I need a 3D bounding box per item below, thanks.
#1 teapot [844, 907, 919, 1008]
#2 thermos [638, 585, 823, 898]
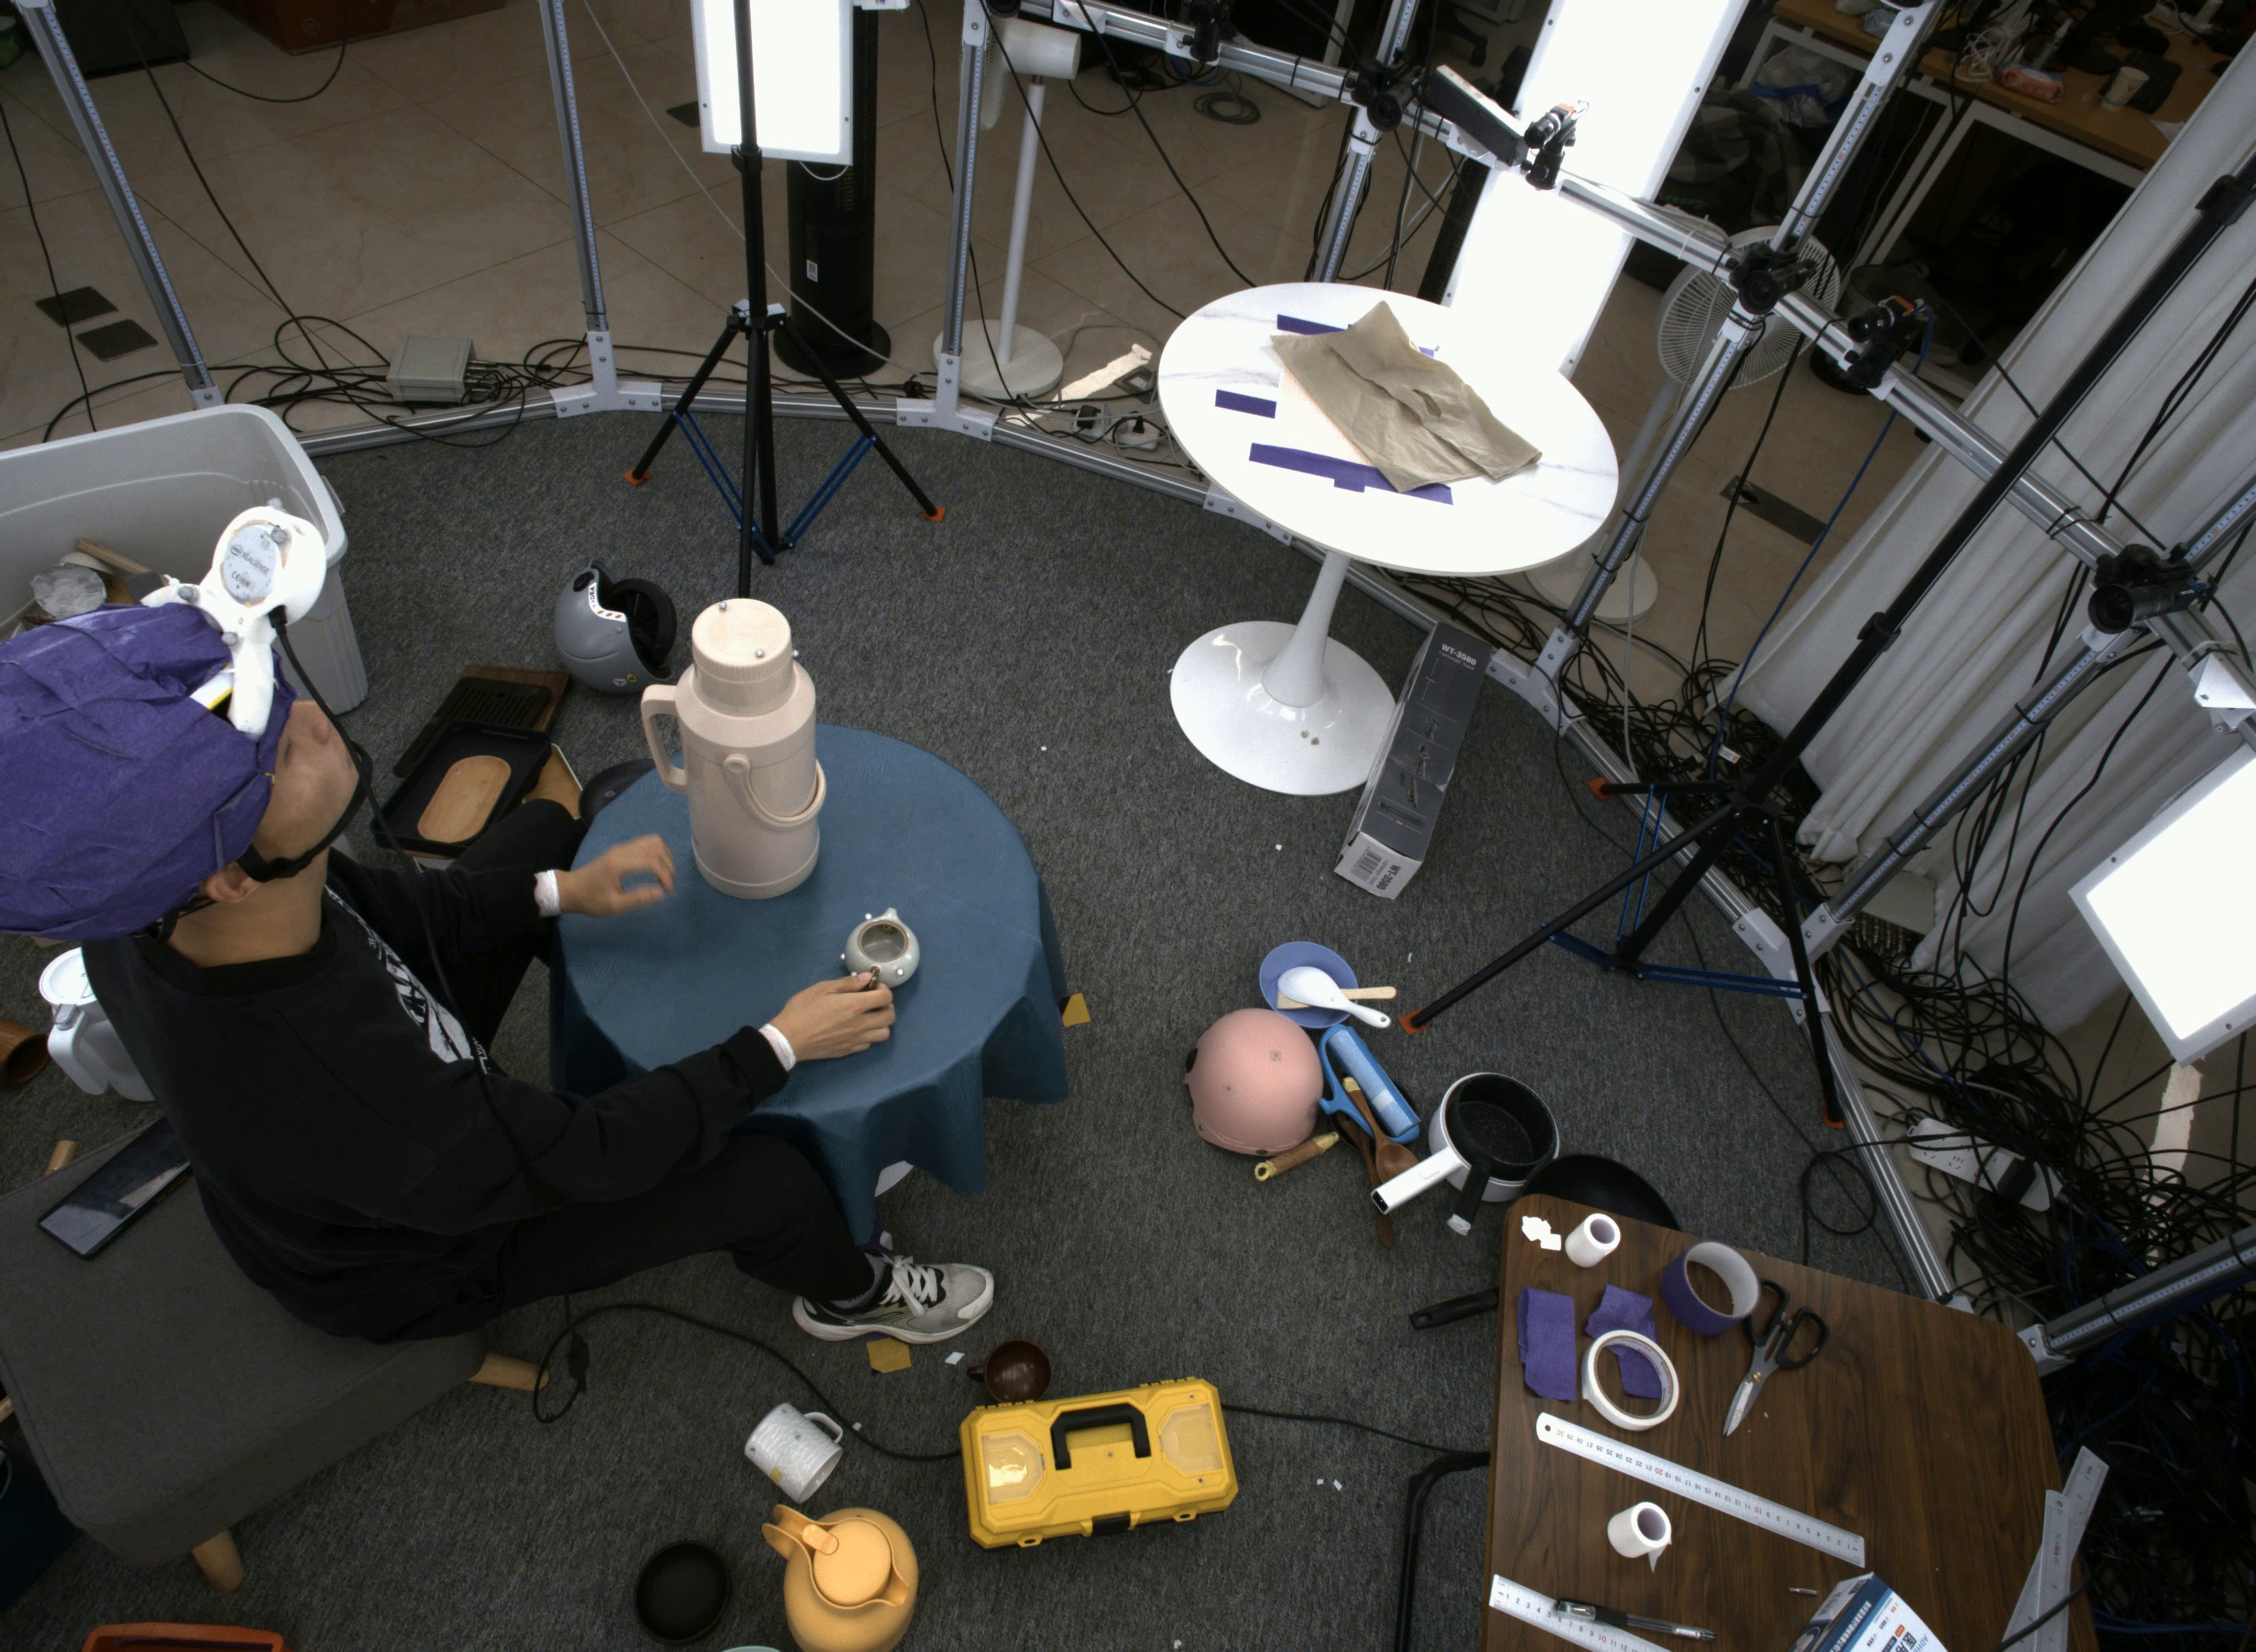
[{"bbox_3d":[-0.304,0.162,1.594,0.092,0.060,0.126,12,50,-8],"label":"teapot"},{"bbox_3d":[-0.466,-0.097,1.526,0.207,0.414,0.172,2,53,-11],"label":"thermos"}]
